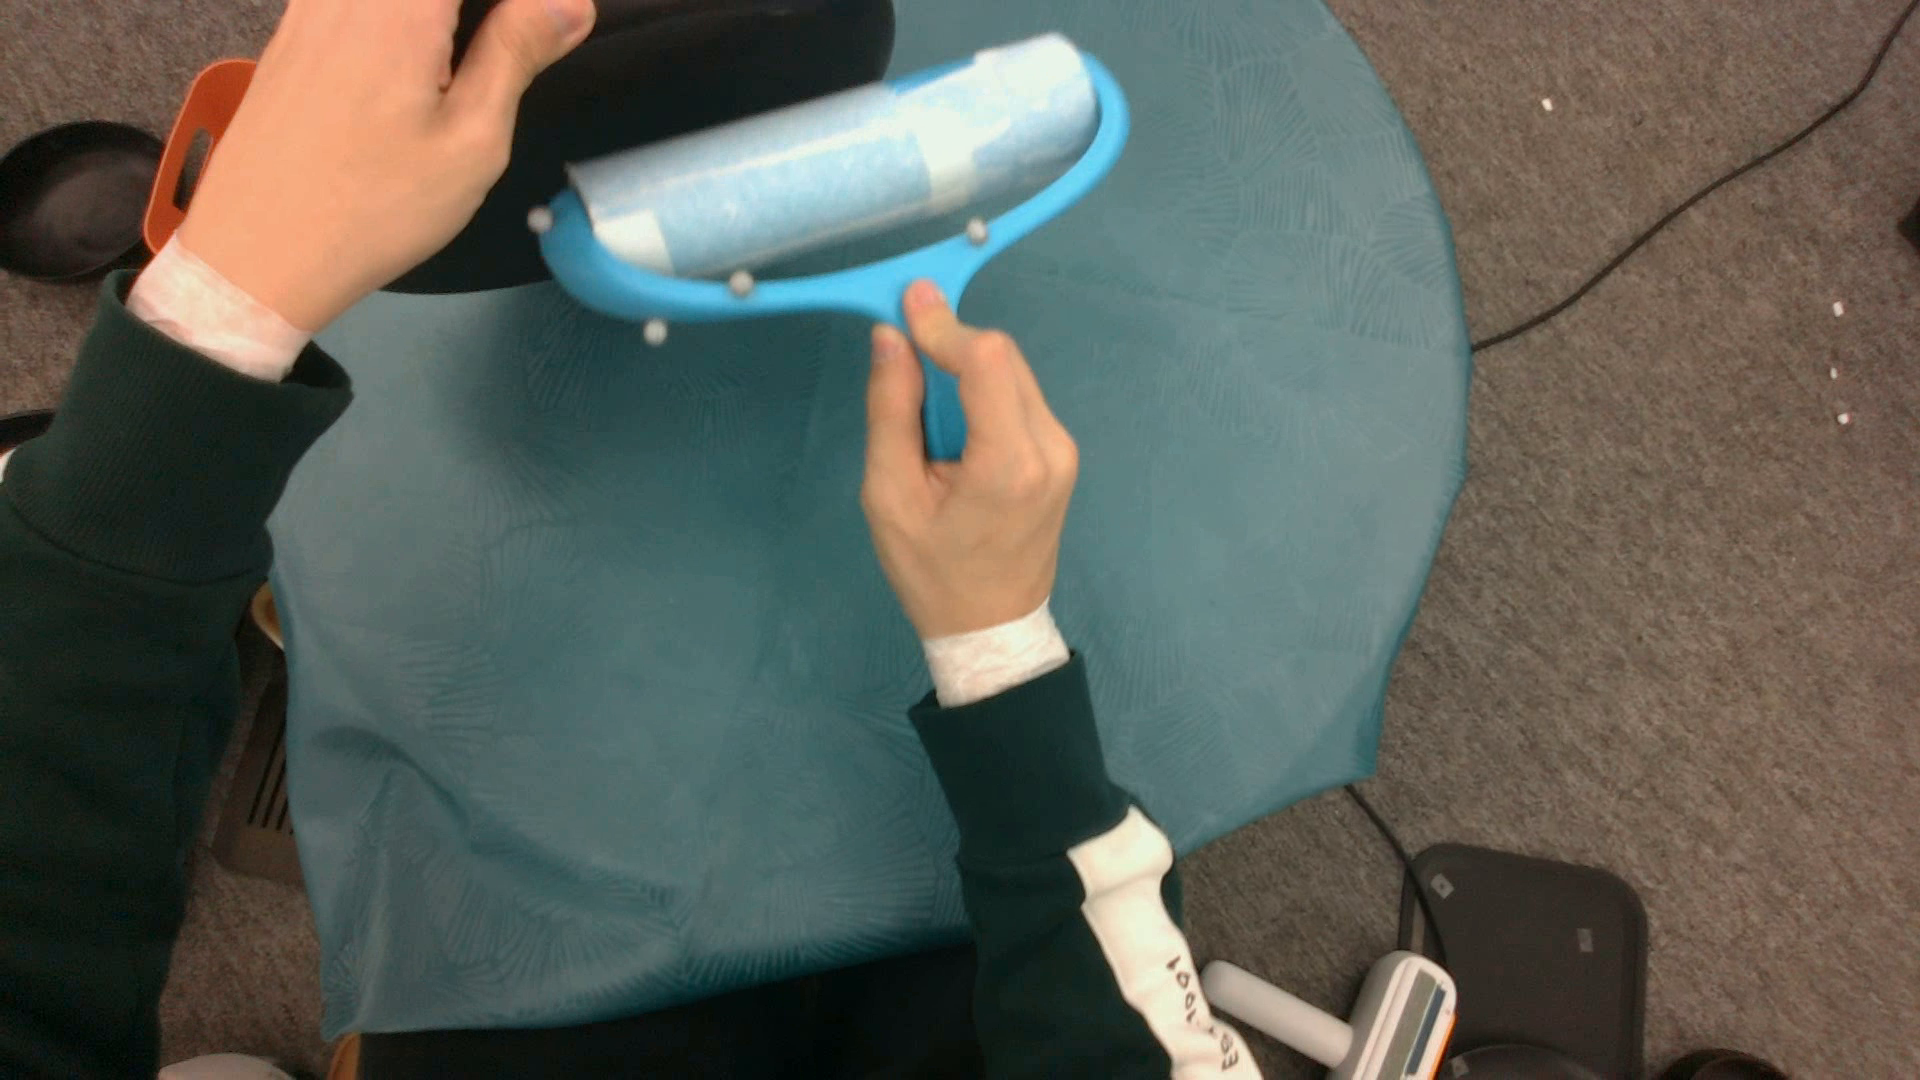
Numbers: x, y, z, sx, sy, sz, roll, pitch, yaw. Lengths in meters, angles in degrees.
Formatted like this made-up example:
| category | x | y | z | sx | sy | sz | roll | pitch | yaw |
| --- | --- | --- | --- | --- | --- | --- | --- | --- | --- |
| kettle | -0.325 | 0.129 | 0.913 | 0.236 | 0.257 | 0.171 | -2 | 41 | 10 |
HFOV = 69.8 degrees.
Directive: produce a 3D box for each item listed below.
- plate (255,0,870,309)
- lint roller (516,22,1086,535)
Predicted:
| category | x | y | z | sx | sy | sz | roll | pitch | yaw |
| --- | --- | --- | --- | --- | --- | --- | --- | --- | --- |
| plate | -0.148 | -0.157 | 0.548 | 0.255 | 0.254 | 0.029 | -28 | 90 | -10 |
| lint roller | -0.030 | -0.090 | 0.524 | 0.229 | 0.068 | 0.180 | -27 | 88 | -18 |
